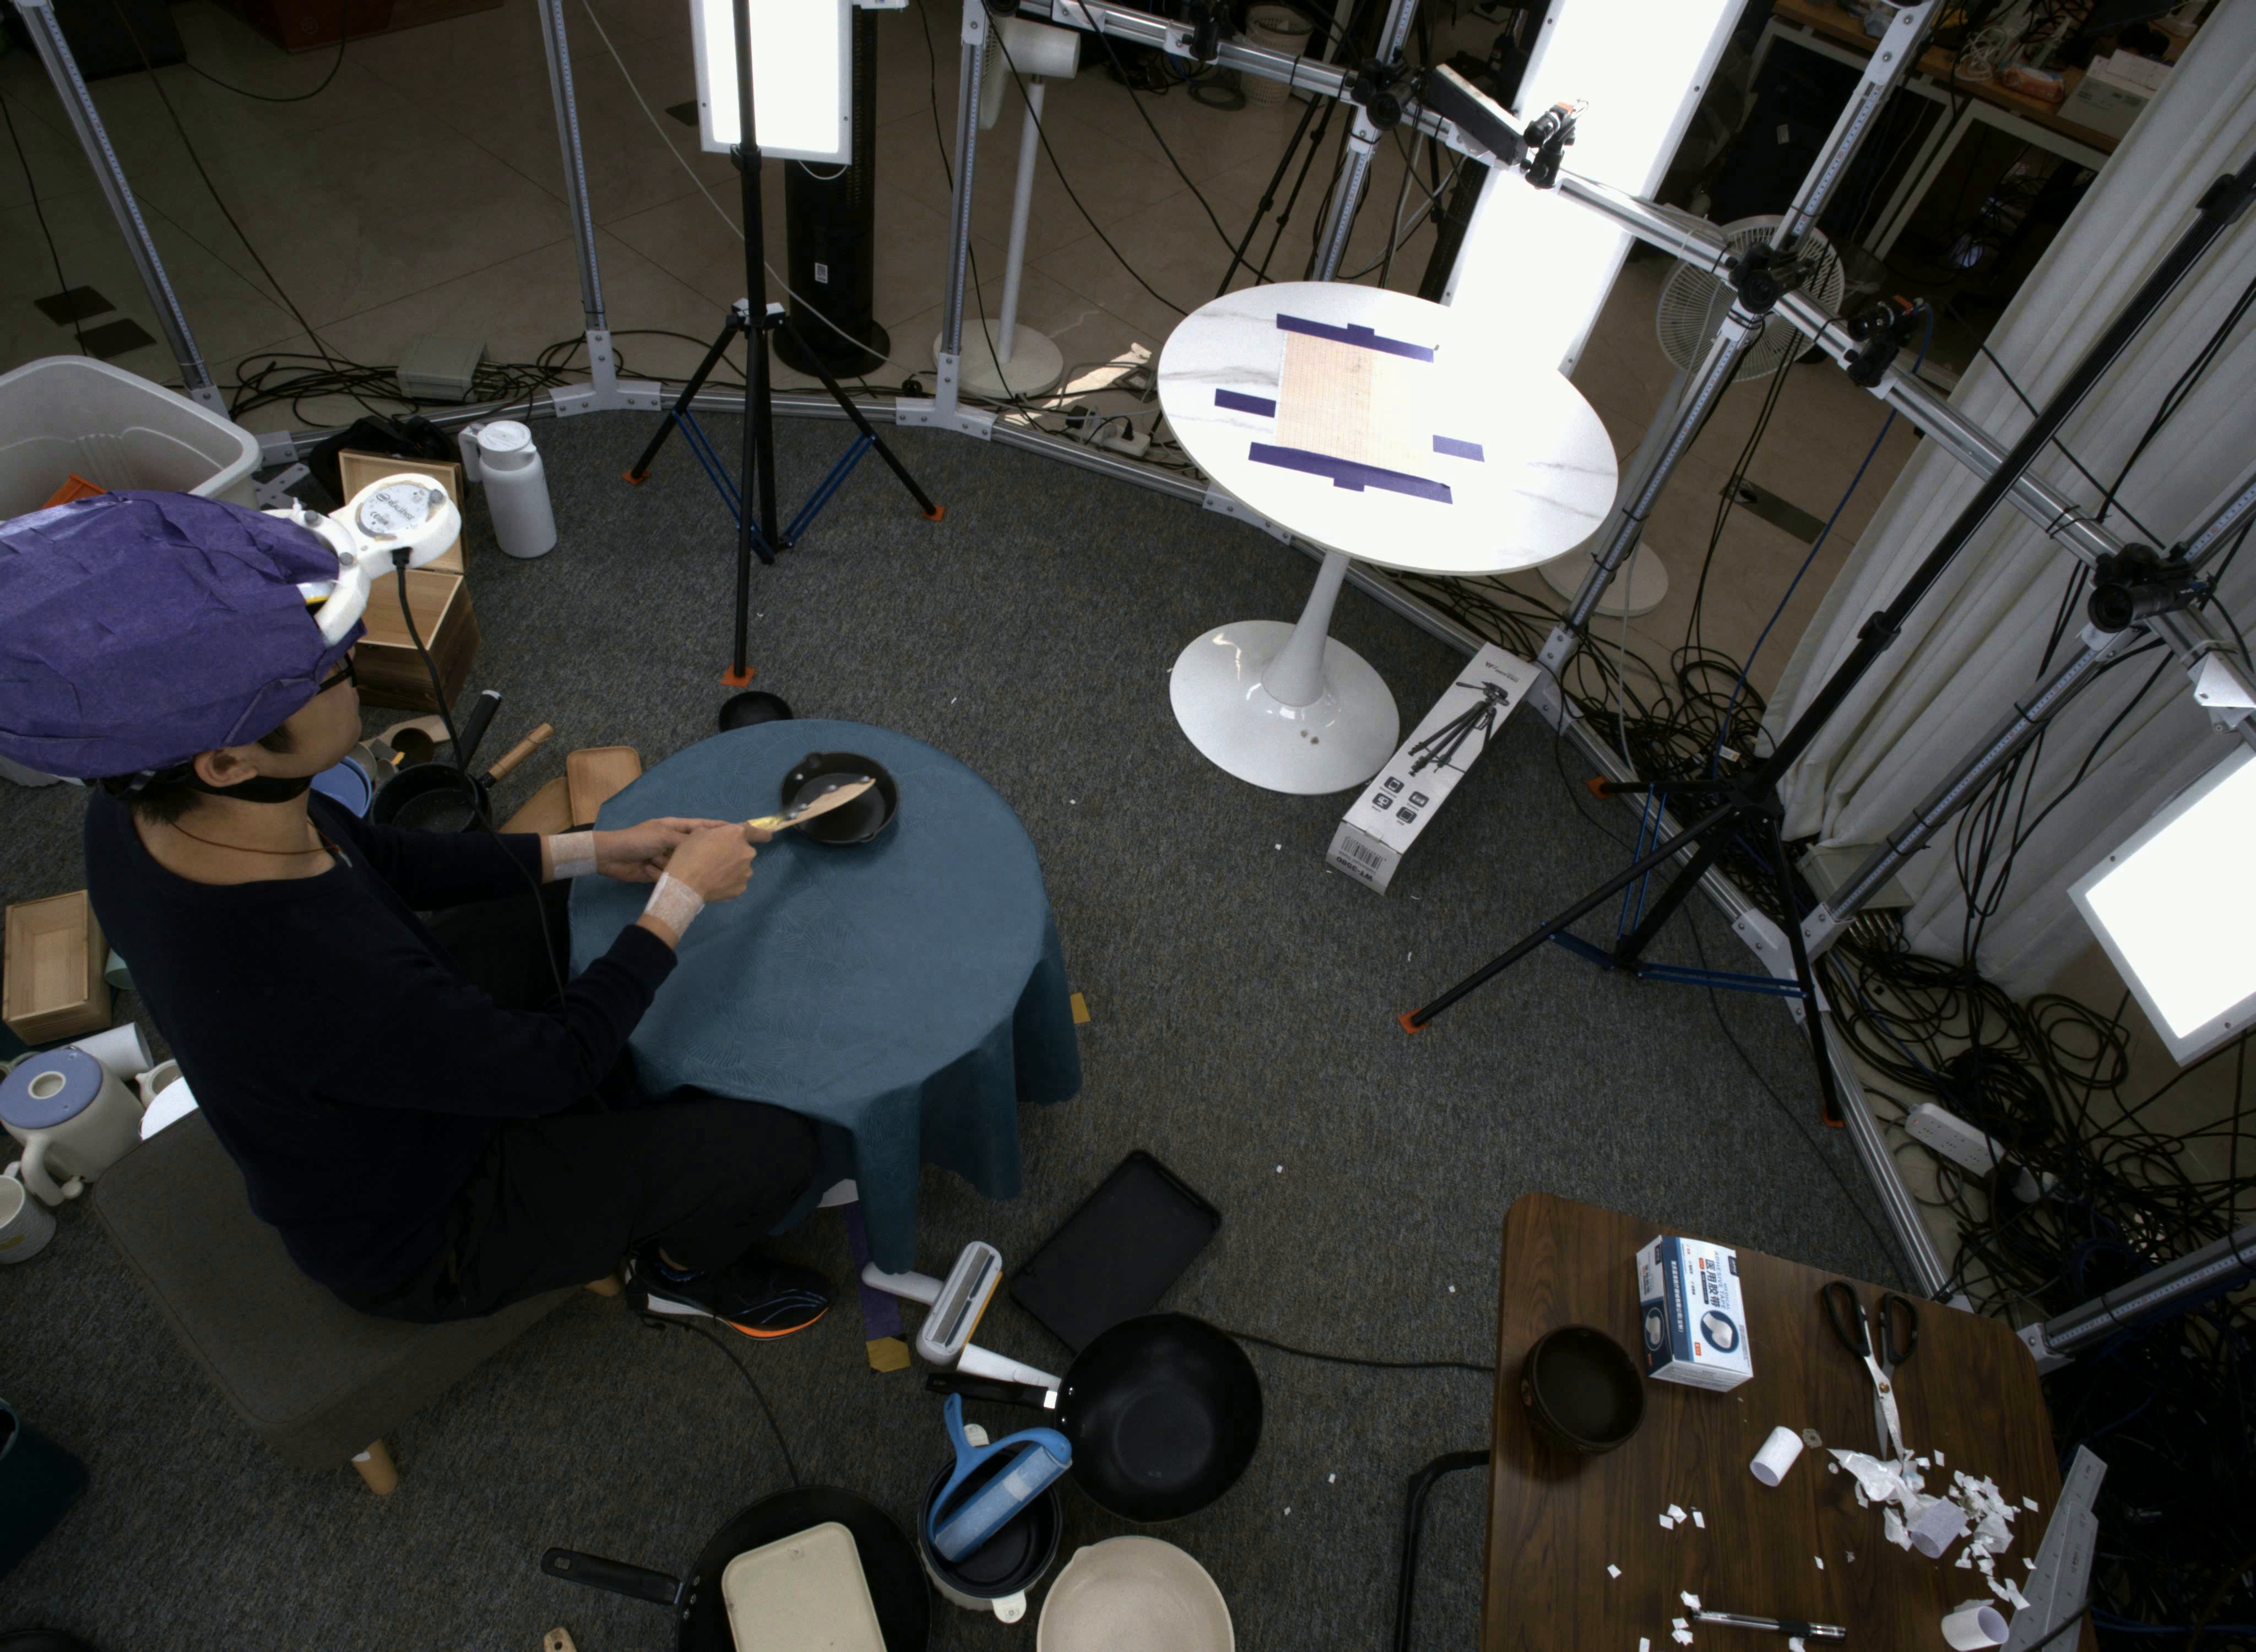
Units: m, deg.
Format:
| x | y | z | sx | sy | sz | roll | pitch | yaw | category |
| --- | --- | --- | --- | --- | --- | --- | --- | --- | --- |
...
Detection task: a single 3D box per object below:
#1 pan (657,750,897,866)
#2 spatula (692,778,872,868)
| x | y | z | sx | sy | sz | roll | pitch | yaw | category |
| --- | --- | --- | --- | --- | --- | --- | --- | --- | --- |
| -0.454 | -0.009 | 1.679 | 0.326 | 0.050 | 0.164 | -22 | 61 | -30 | pan |
| -0.431 | -0.007 | 1.605 | 0.078 | 0.017 | 0.328 | -11 | 11 | 25 | spatula |
